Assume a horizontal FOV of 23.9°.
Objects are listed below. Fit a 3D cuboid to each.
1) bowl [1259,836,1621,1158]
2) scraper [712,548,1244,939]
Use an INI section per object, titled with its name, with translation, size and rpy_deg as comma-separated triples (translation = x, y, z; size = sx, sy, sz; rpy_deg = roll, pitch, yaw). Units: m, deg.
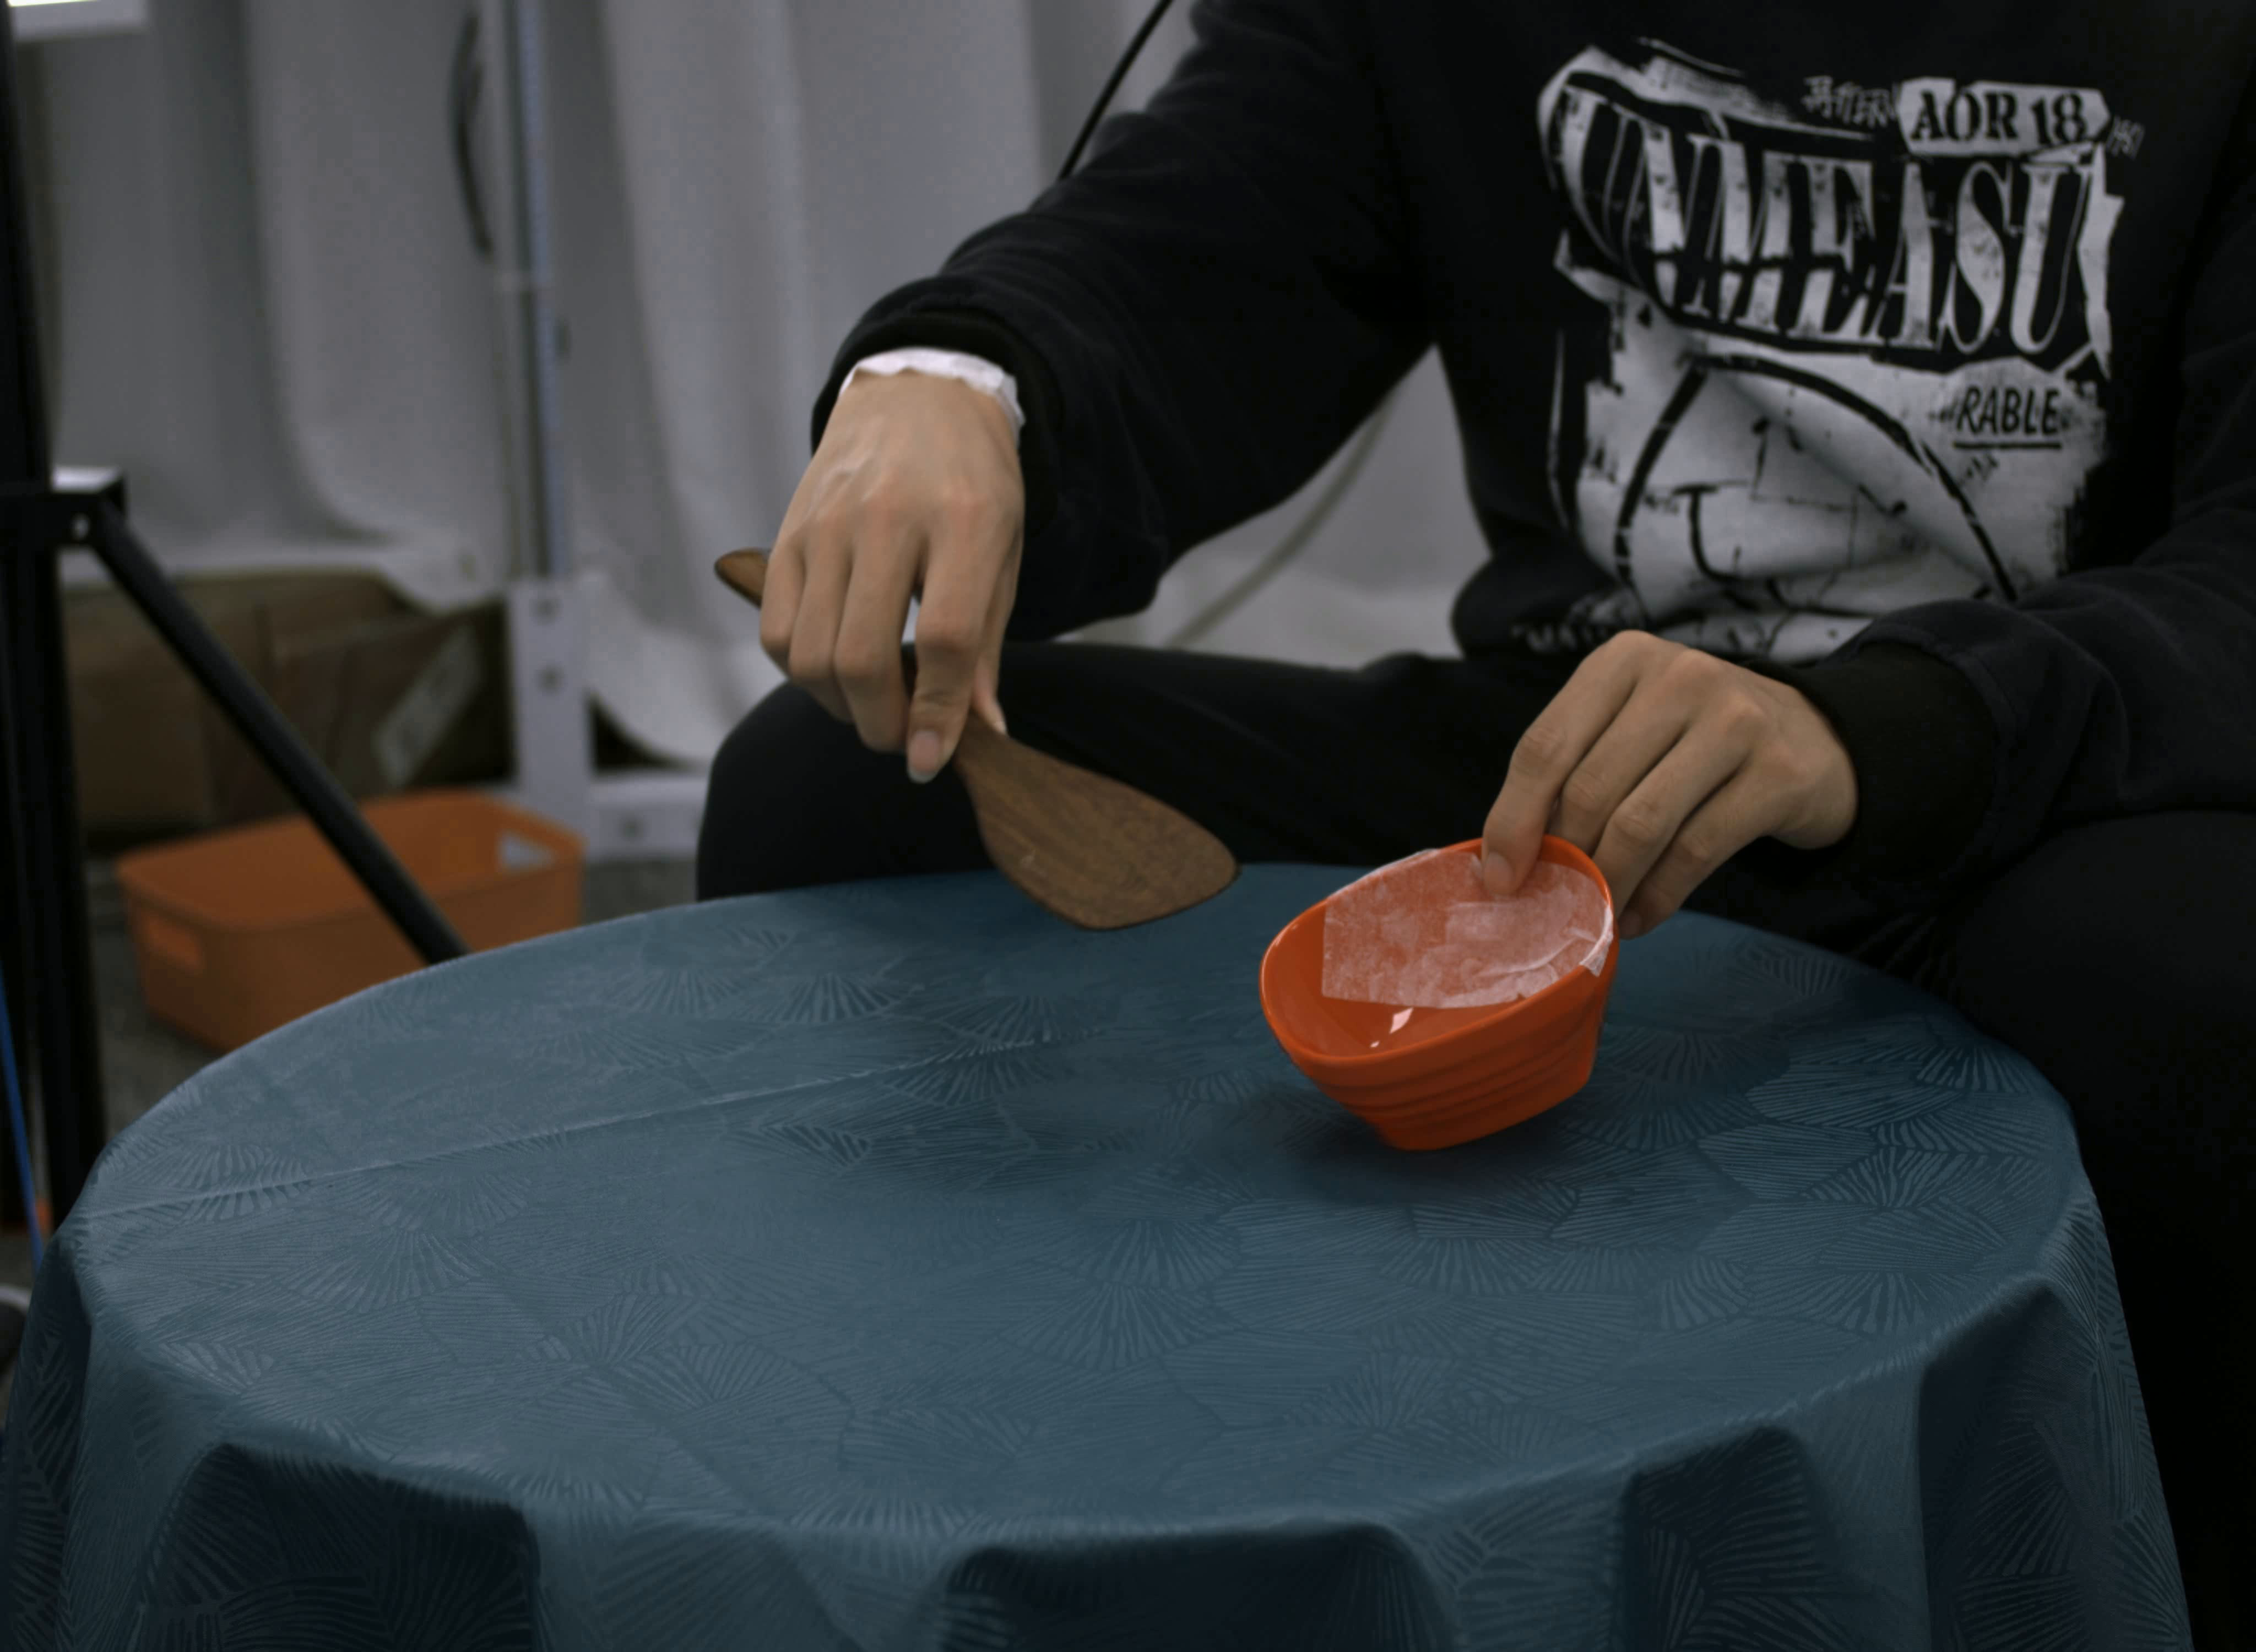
[bowl]
translation = 0.100, 0.057, 1.593
size = 0.119, 0.051, 0.120
rpy_deg = -20, 26, 8
[scraper]
translation = -0.055, -0.028, 1.636
size = 0.074, 0.011, 0.216
rpy_deg = -18, 46, -40
